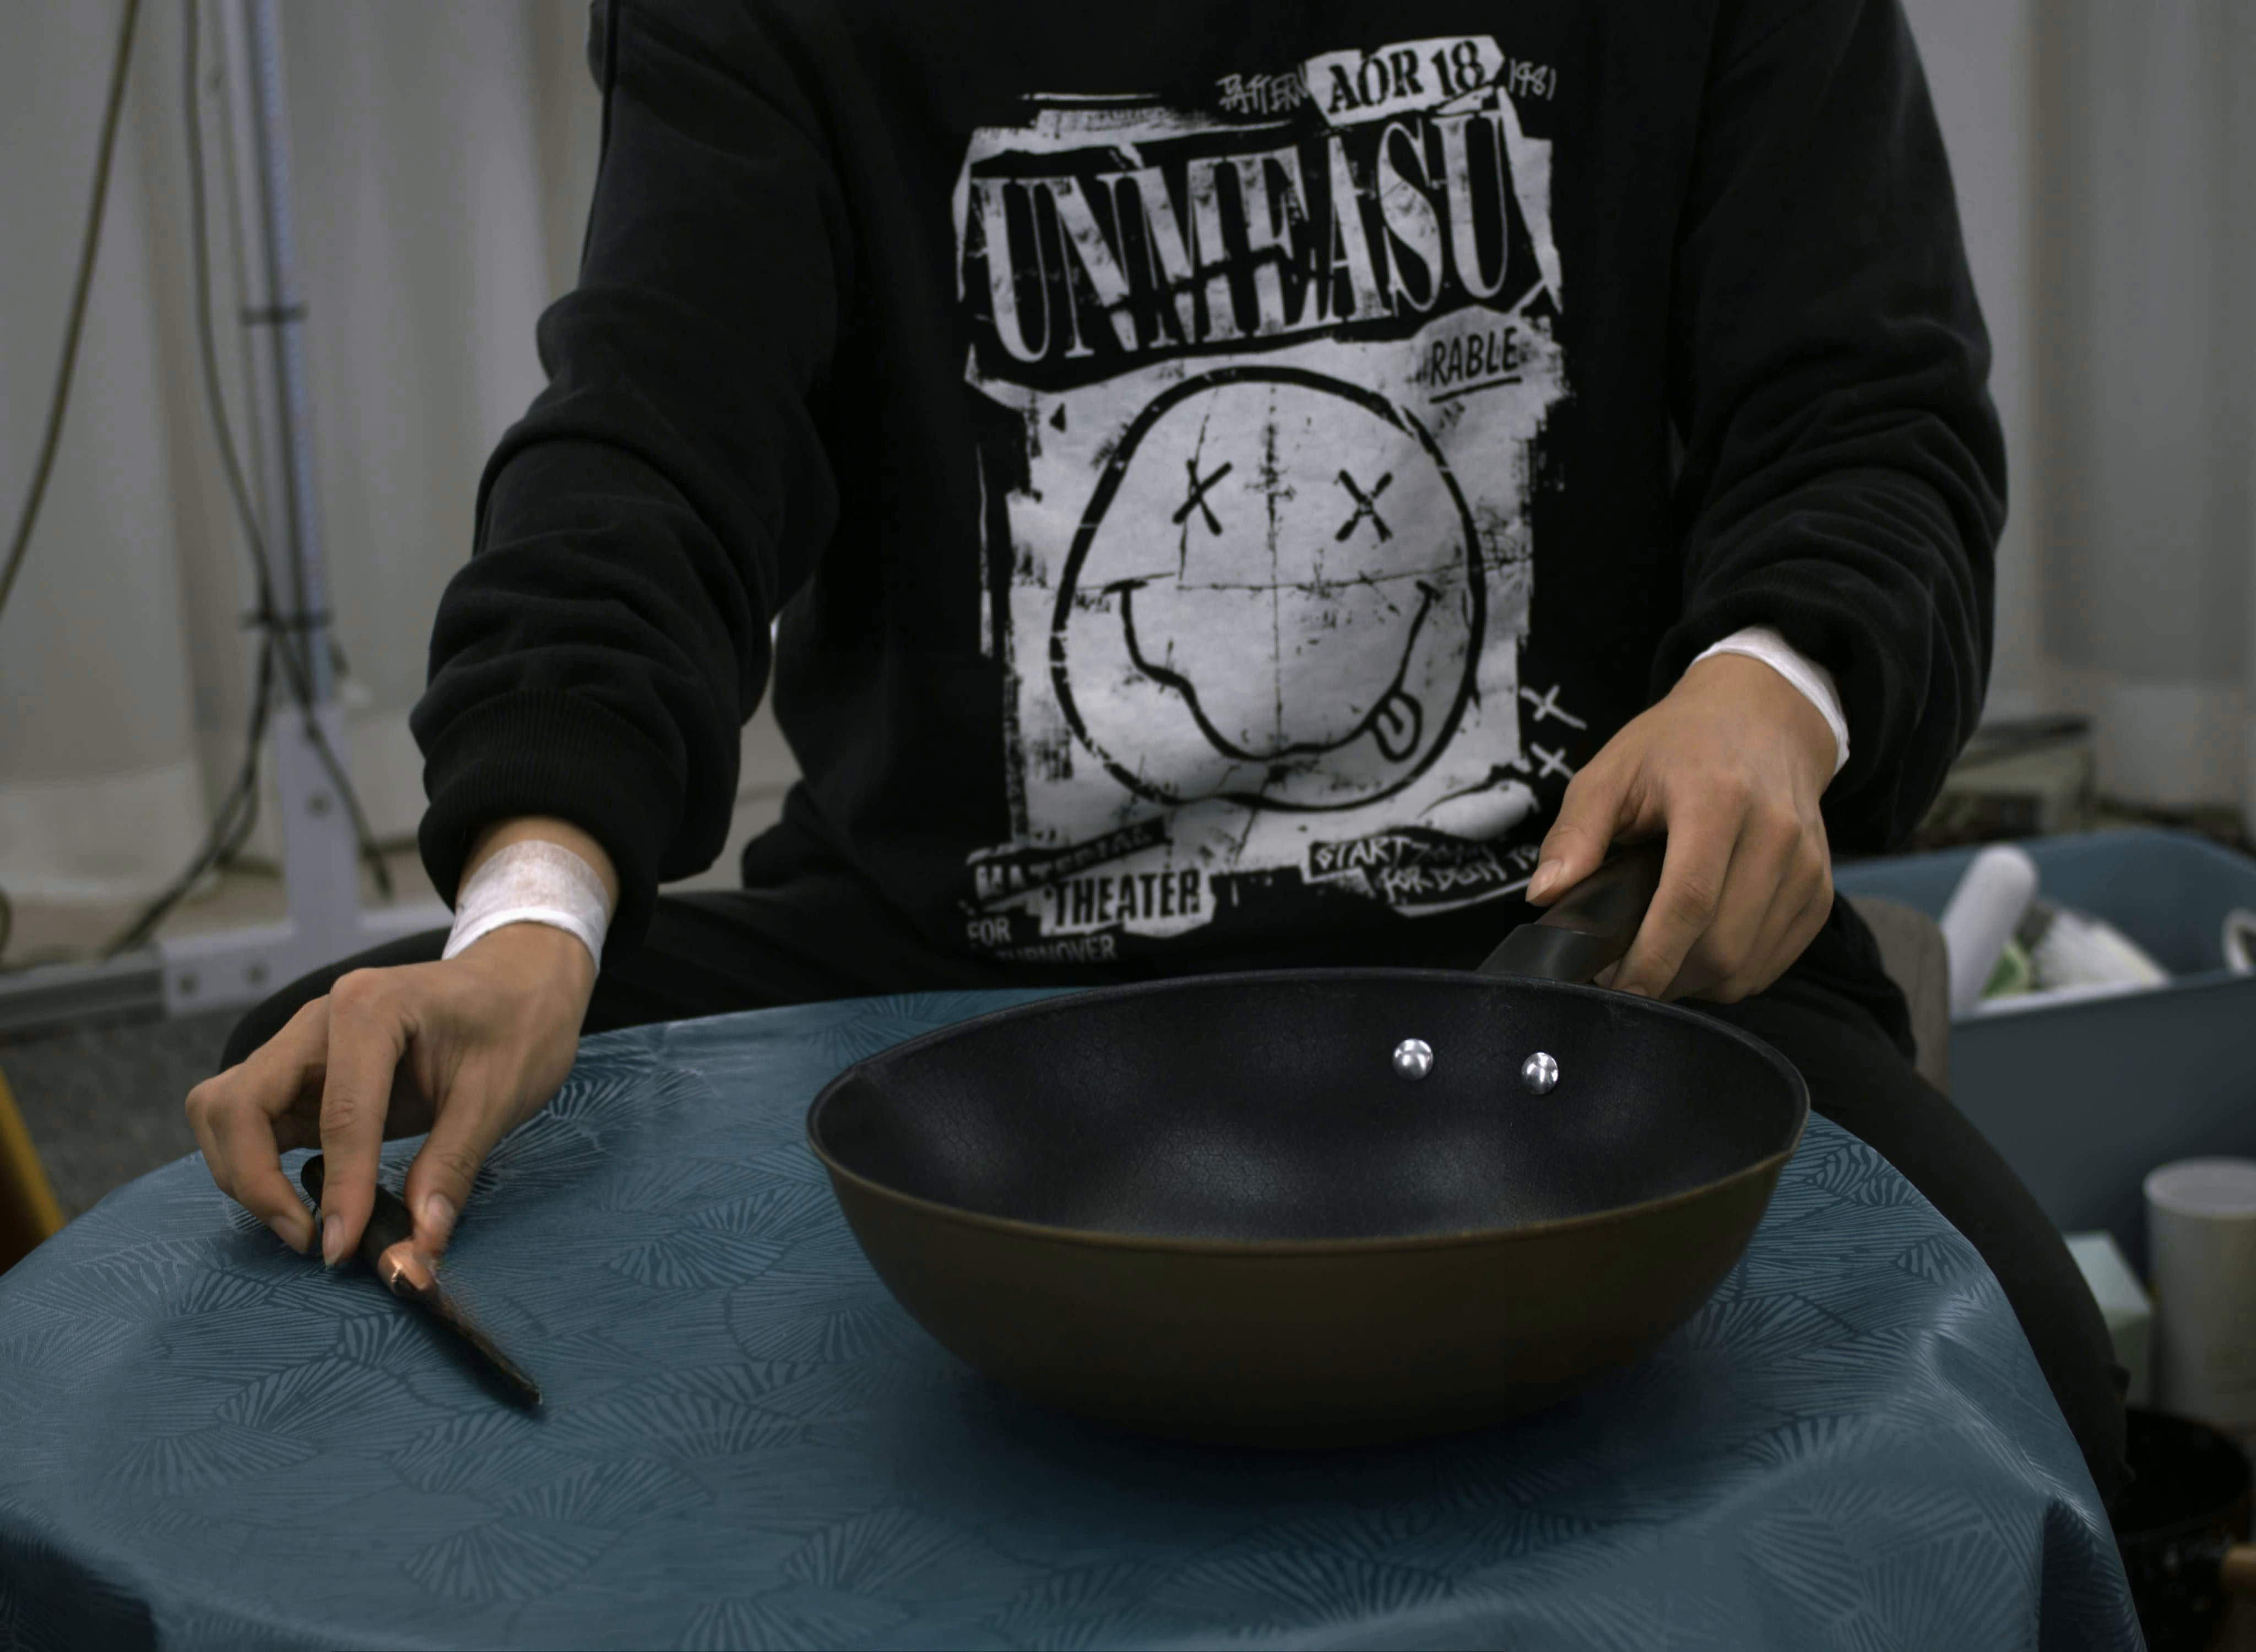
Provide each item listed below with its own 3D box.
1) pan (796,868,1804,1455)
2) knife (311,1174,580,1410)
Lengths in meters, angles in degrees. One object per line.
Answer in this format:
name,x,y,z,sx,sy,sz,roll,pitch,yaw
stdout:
pan,0.088,0.096,1.619,0.288,0.086,0.463,4,13,26
knife,-0.207,0.139,1.642,0.026,0.017,0.227,17,5,-26
